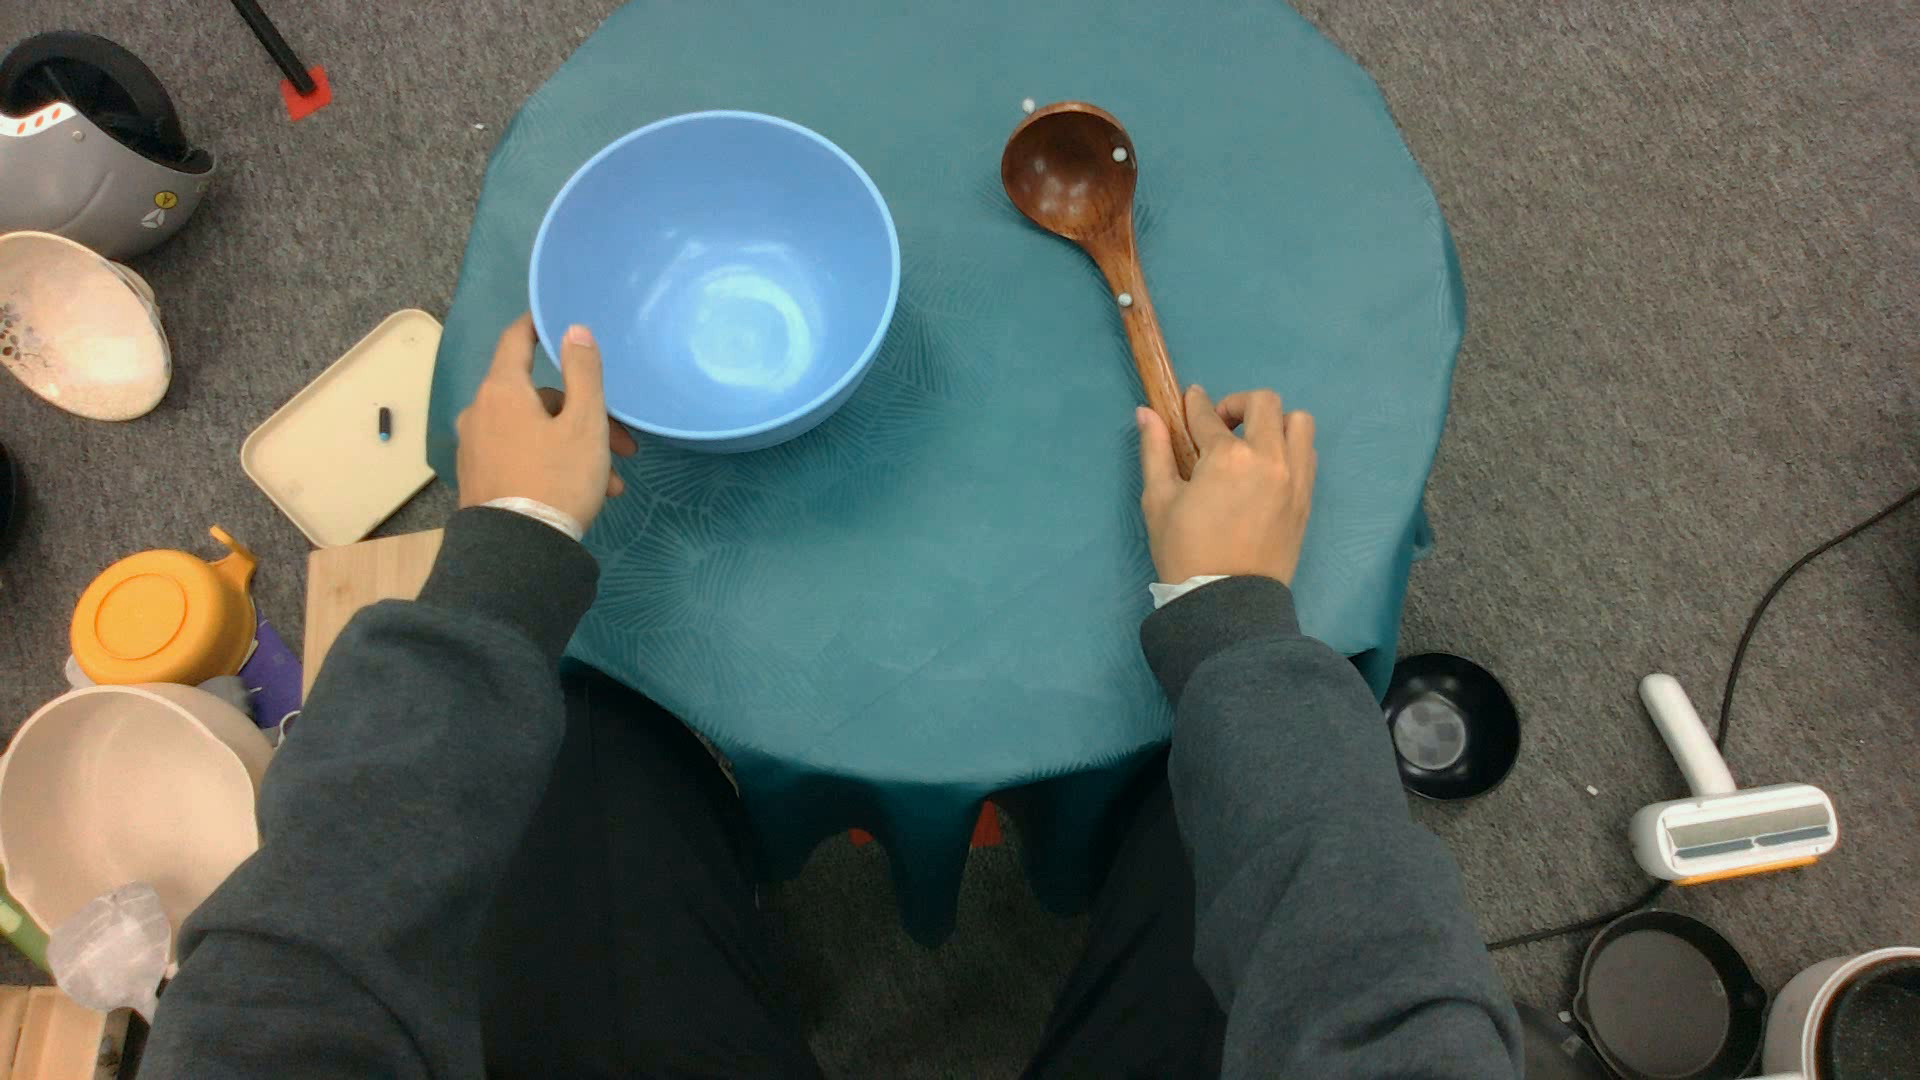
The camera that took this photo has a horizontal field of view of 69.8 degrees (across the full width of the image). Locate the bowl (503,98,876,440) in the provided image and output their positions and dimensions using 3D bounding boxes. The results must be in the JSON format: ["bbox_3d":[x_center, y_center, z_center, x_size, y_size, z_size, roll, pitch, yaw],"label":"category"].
[{"bbox_3d":[-0.143,-0.137,0.772,0.196,0.095,0.197,0,72,-1],"label":"bowl"}]

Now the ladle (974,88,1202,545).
[{"bbox_3d":[0.077,-0.131,0.784,0.081,0.077,0.274,-26,70,34],"label":"ladle"}]
